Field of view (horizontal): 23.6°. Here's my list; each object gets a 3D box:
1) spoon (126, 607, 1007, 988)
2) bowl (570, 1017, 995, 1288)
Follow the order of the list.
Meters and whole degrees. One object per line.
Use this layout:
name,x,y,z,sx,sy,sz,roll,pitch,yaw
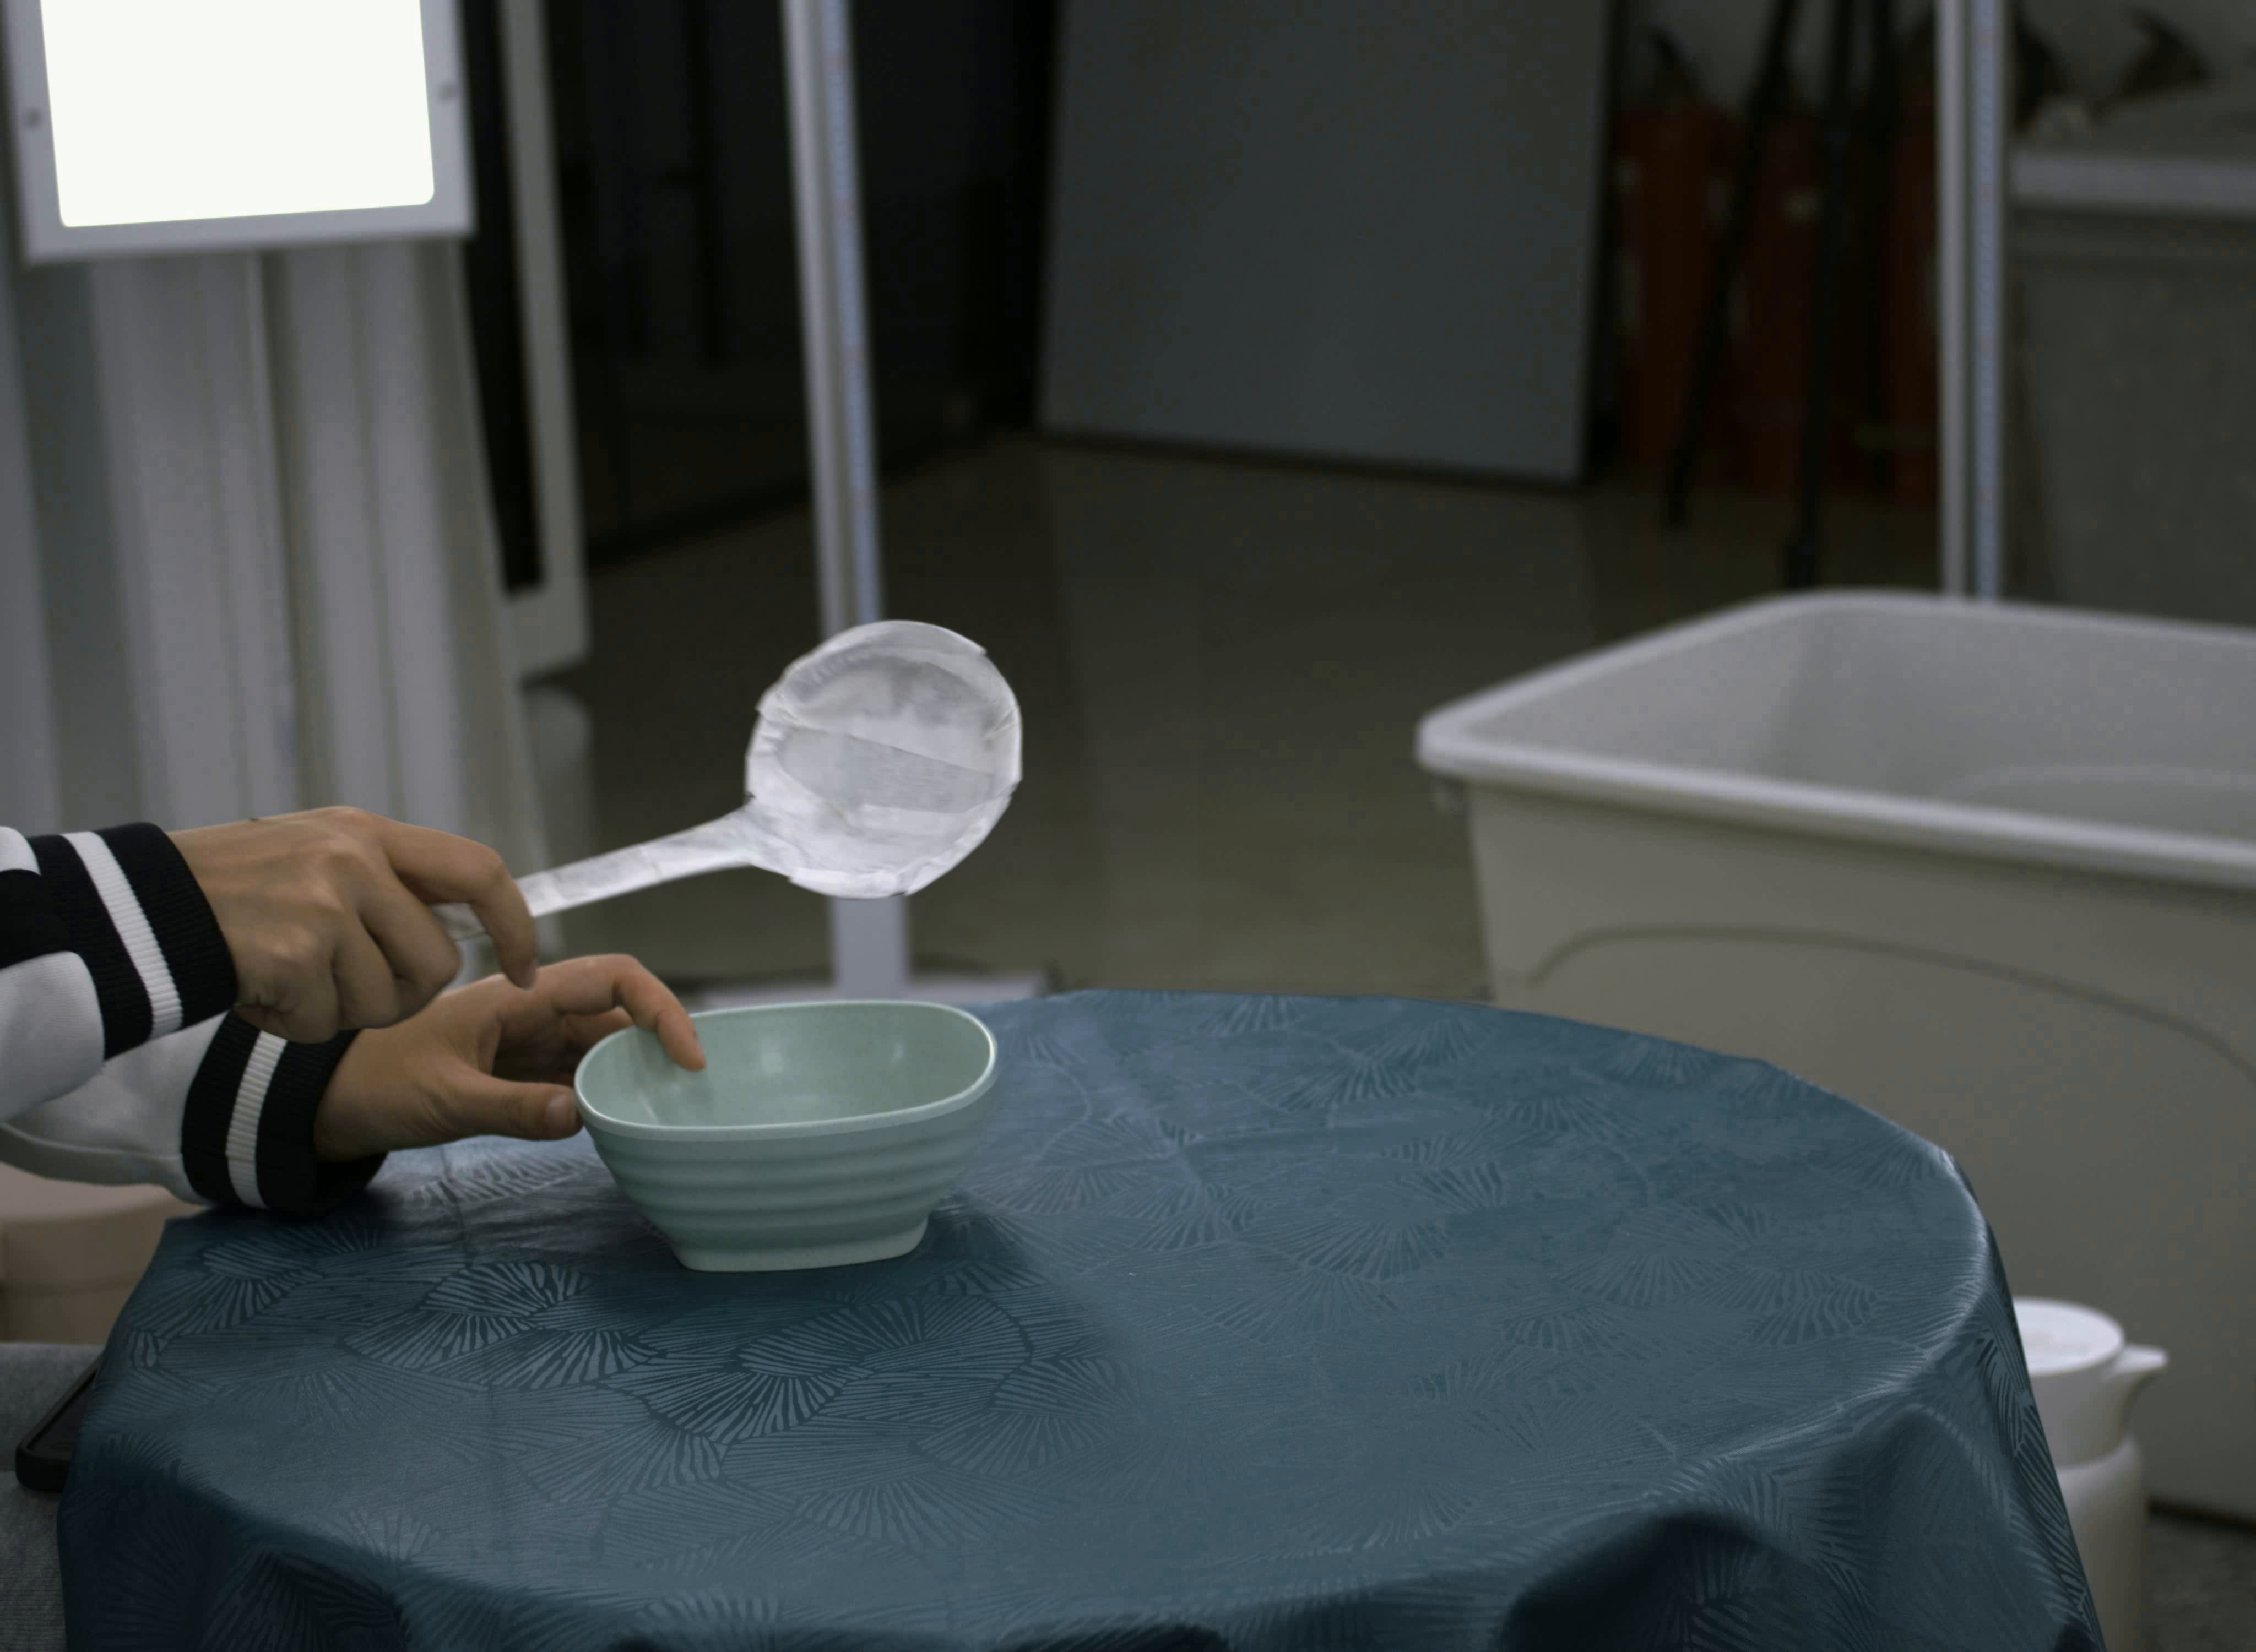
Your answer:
spoon,-0.171,-0.005,1.651,0.272,0.060,0.102,-13,58,-19
bowl,-0.110,0.108,1.748,0.149,0.059,0.151,-4,13,0
